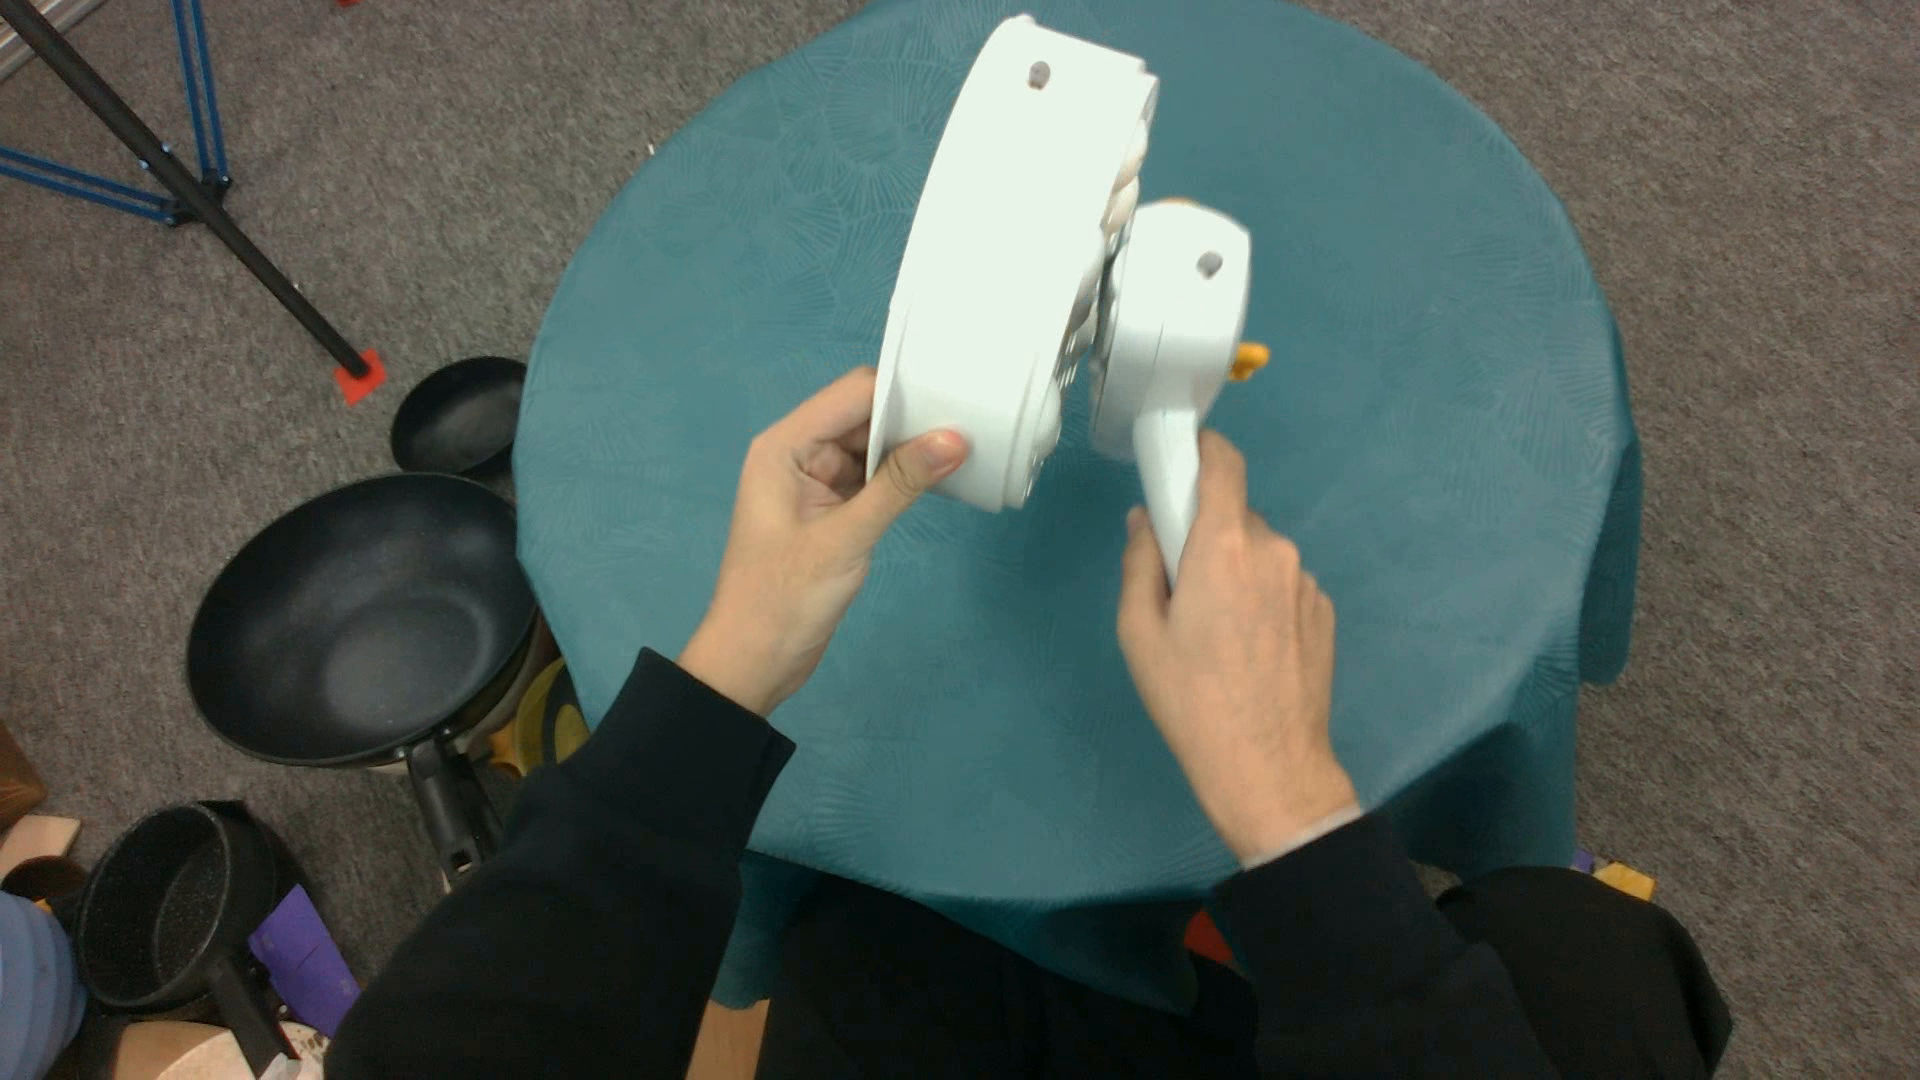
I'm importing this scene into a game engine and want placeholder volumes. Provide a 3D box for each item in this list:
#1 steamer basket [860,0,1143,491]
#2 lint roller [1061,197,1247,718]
[{"bbox_3d":[0.021,-0.120,0.584,0.069,0.201,0.231,18,59,3],"label":"steamer basket"},{"bbox_3d":[0.081,-0.023,0.570,0.074,0.192,0.192,0,83,-4],"label":"lint roller"}]
